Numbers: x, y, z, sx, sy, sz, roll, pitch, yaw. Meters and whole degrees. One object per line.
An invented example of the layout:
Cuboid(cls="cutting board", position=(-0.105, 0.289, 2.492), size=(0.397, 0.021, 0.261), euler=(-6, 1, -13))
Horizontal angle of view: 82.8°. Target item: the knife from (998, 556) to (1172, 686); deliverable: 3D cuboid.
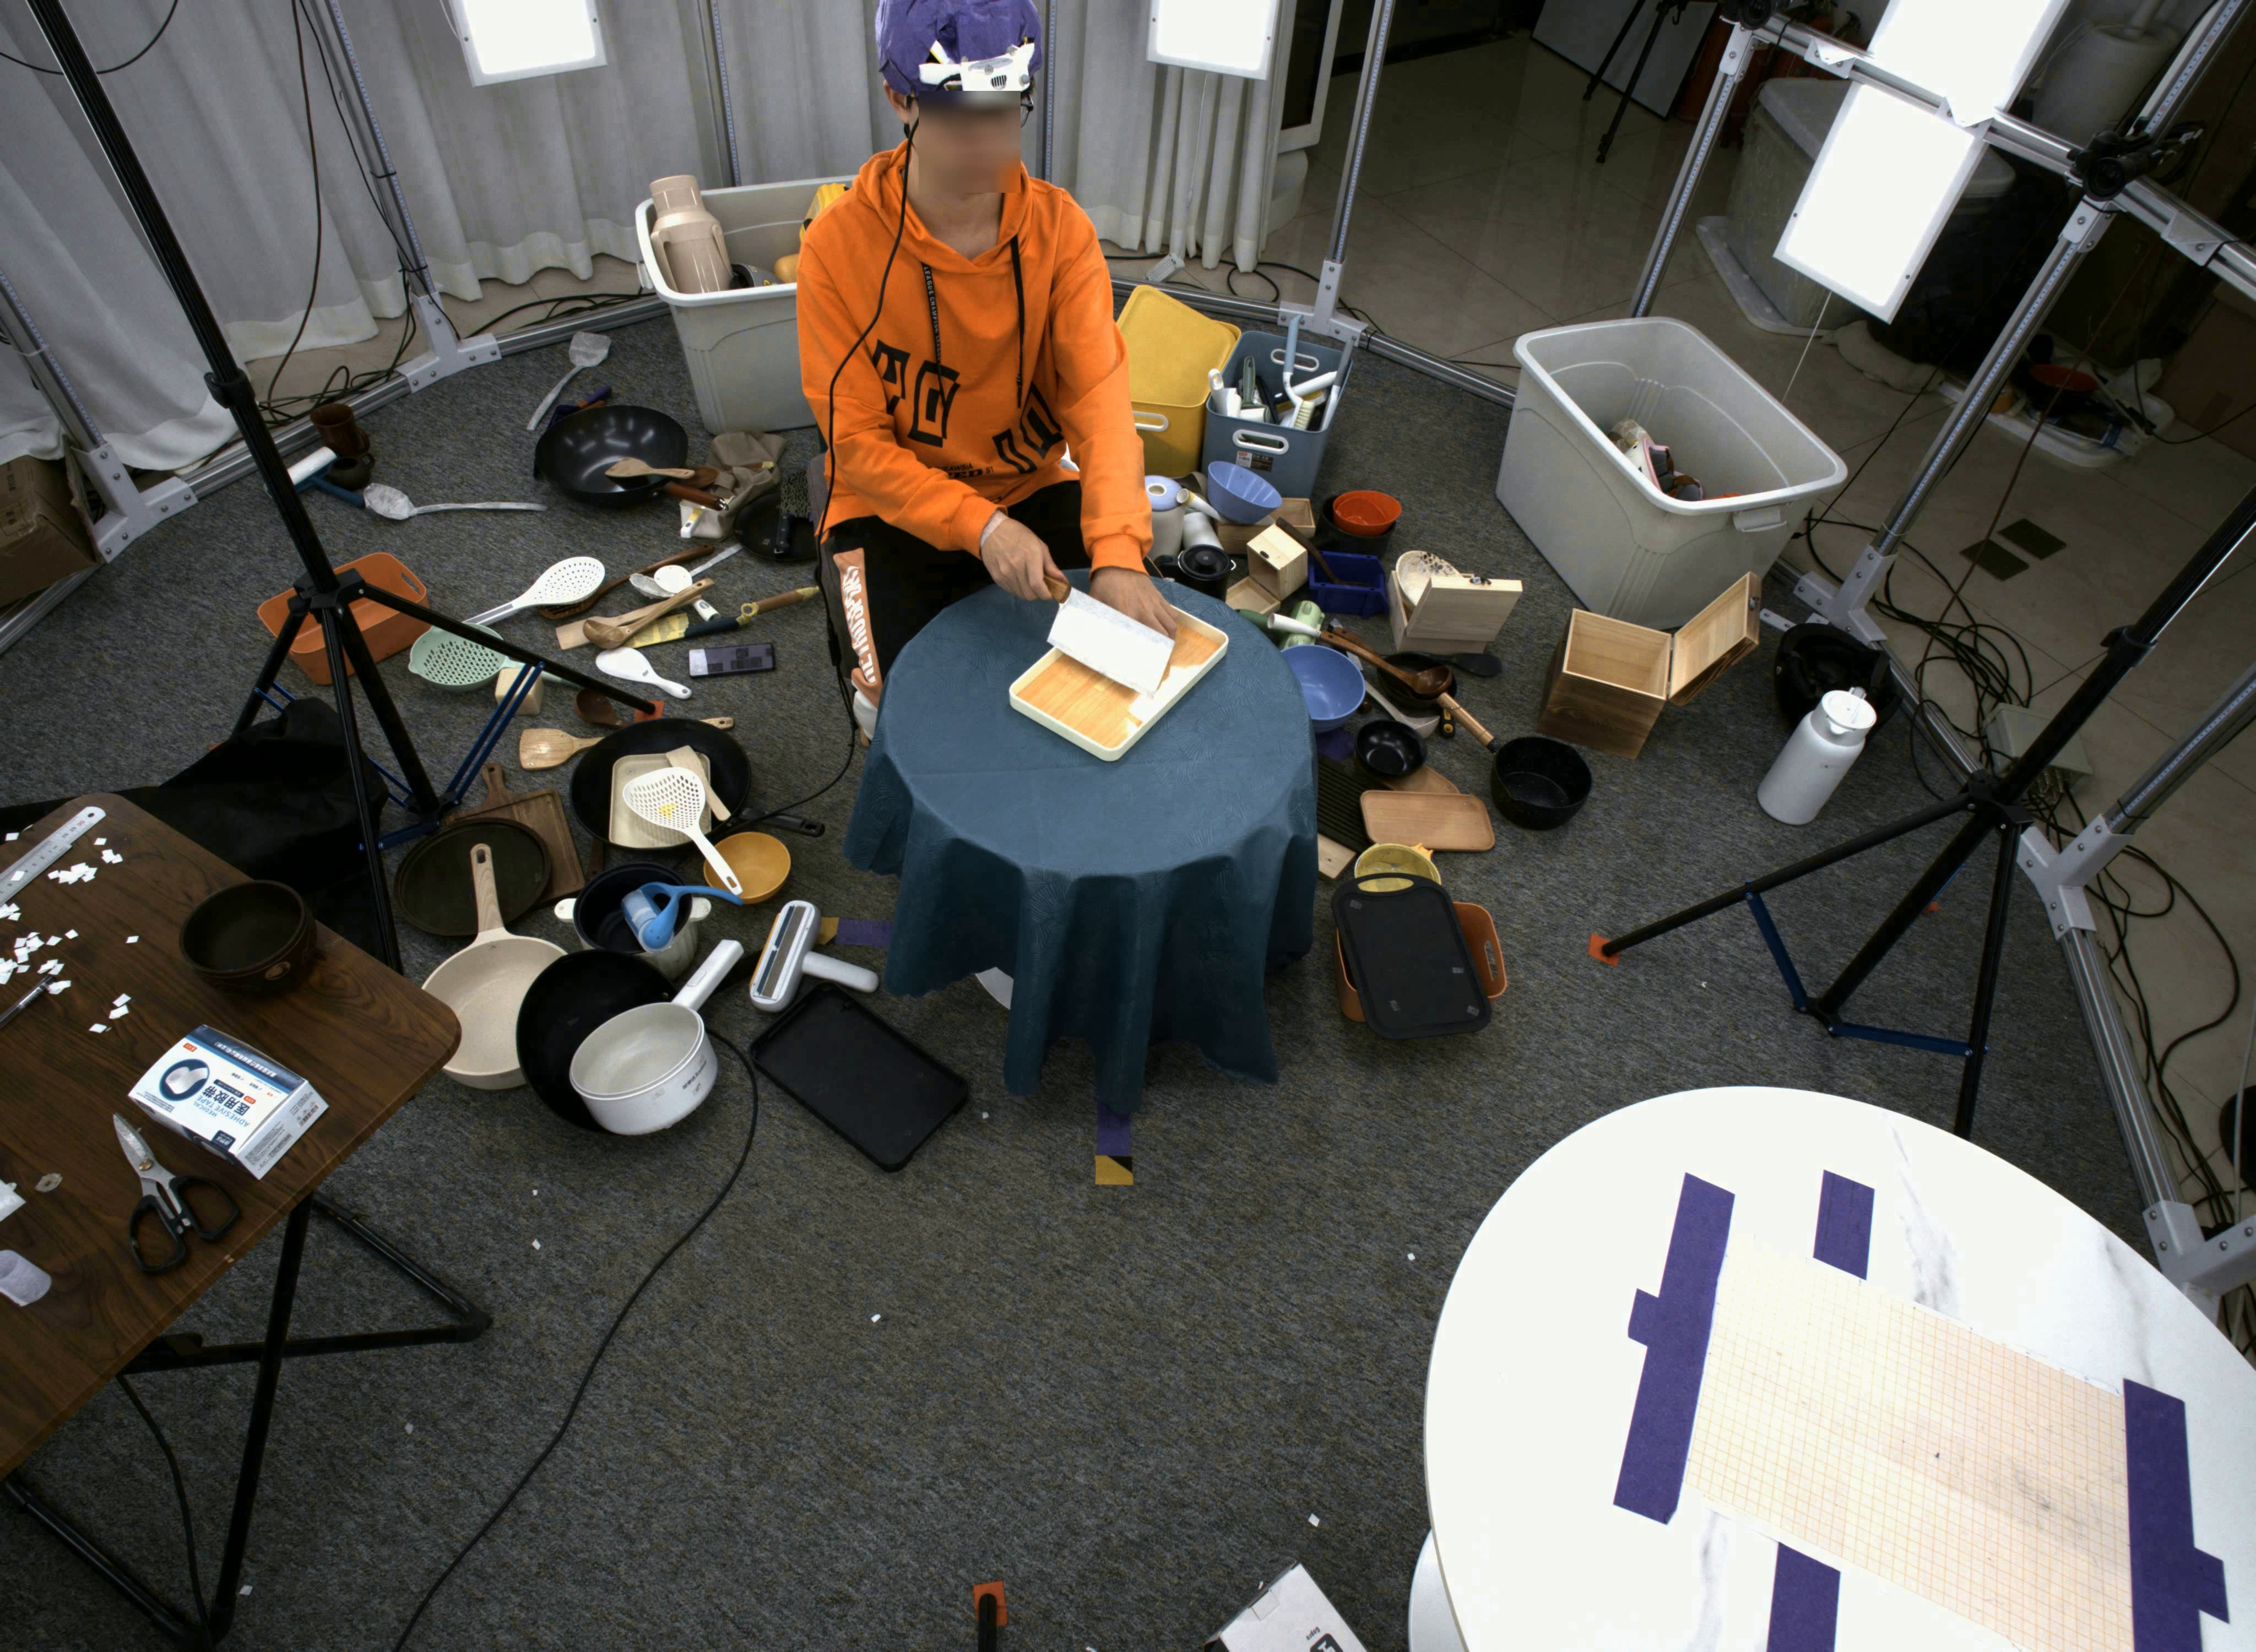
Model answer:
Cuboid(cls="knife", position=(-0.071, -0.289, 1.827), size=(0.309, 0.091, 0.021), euler=(31, 23, 23))

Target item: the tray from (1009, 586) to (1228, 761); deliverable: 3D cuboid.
Cuboid(cls="tray", position=(-0.009, -0.225, 1.845), size=(0.193, 0.027, 0.304), euler=(30, 54, 21))
